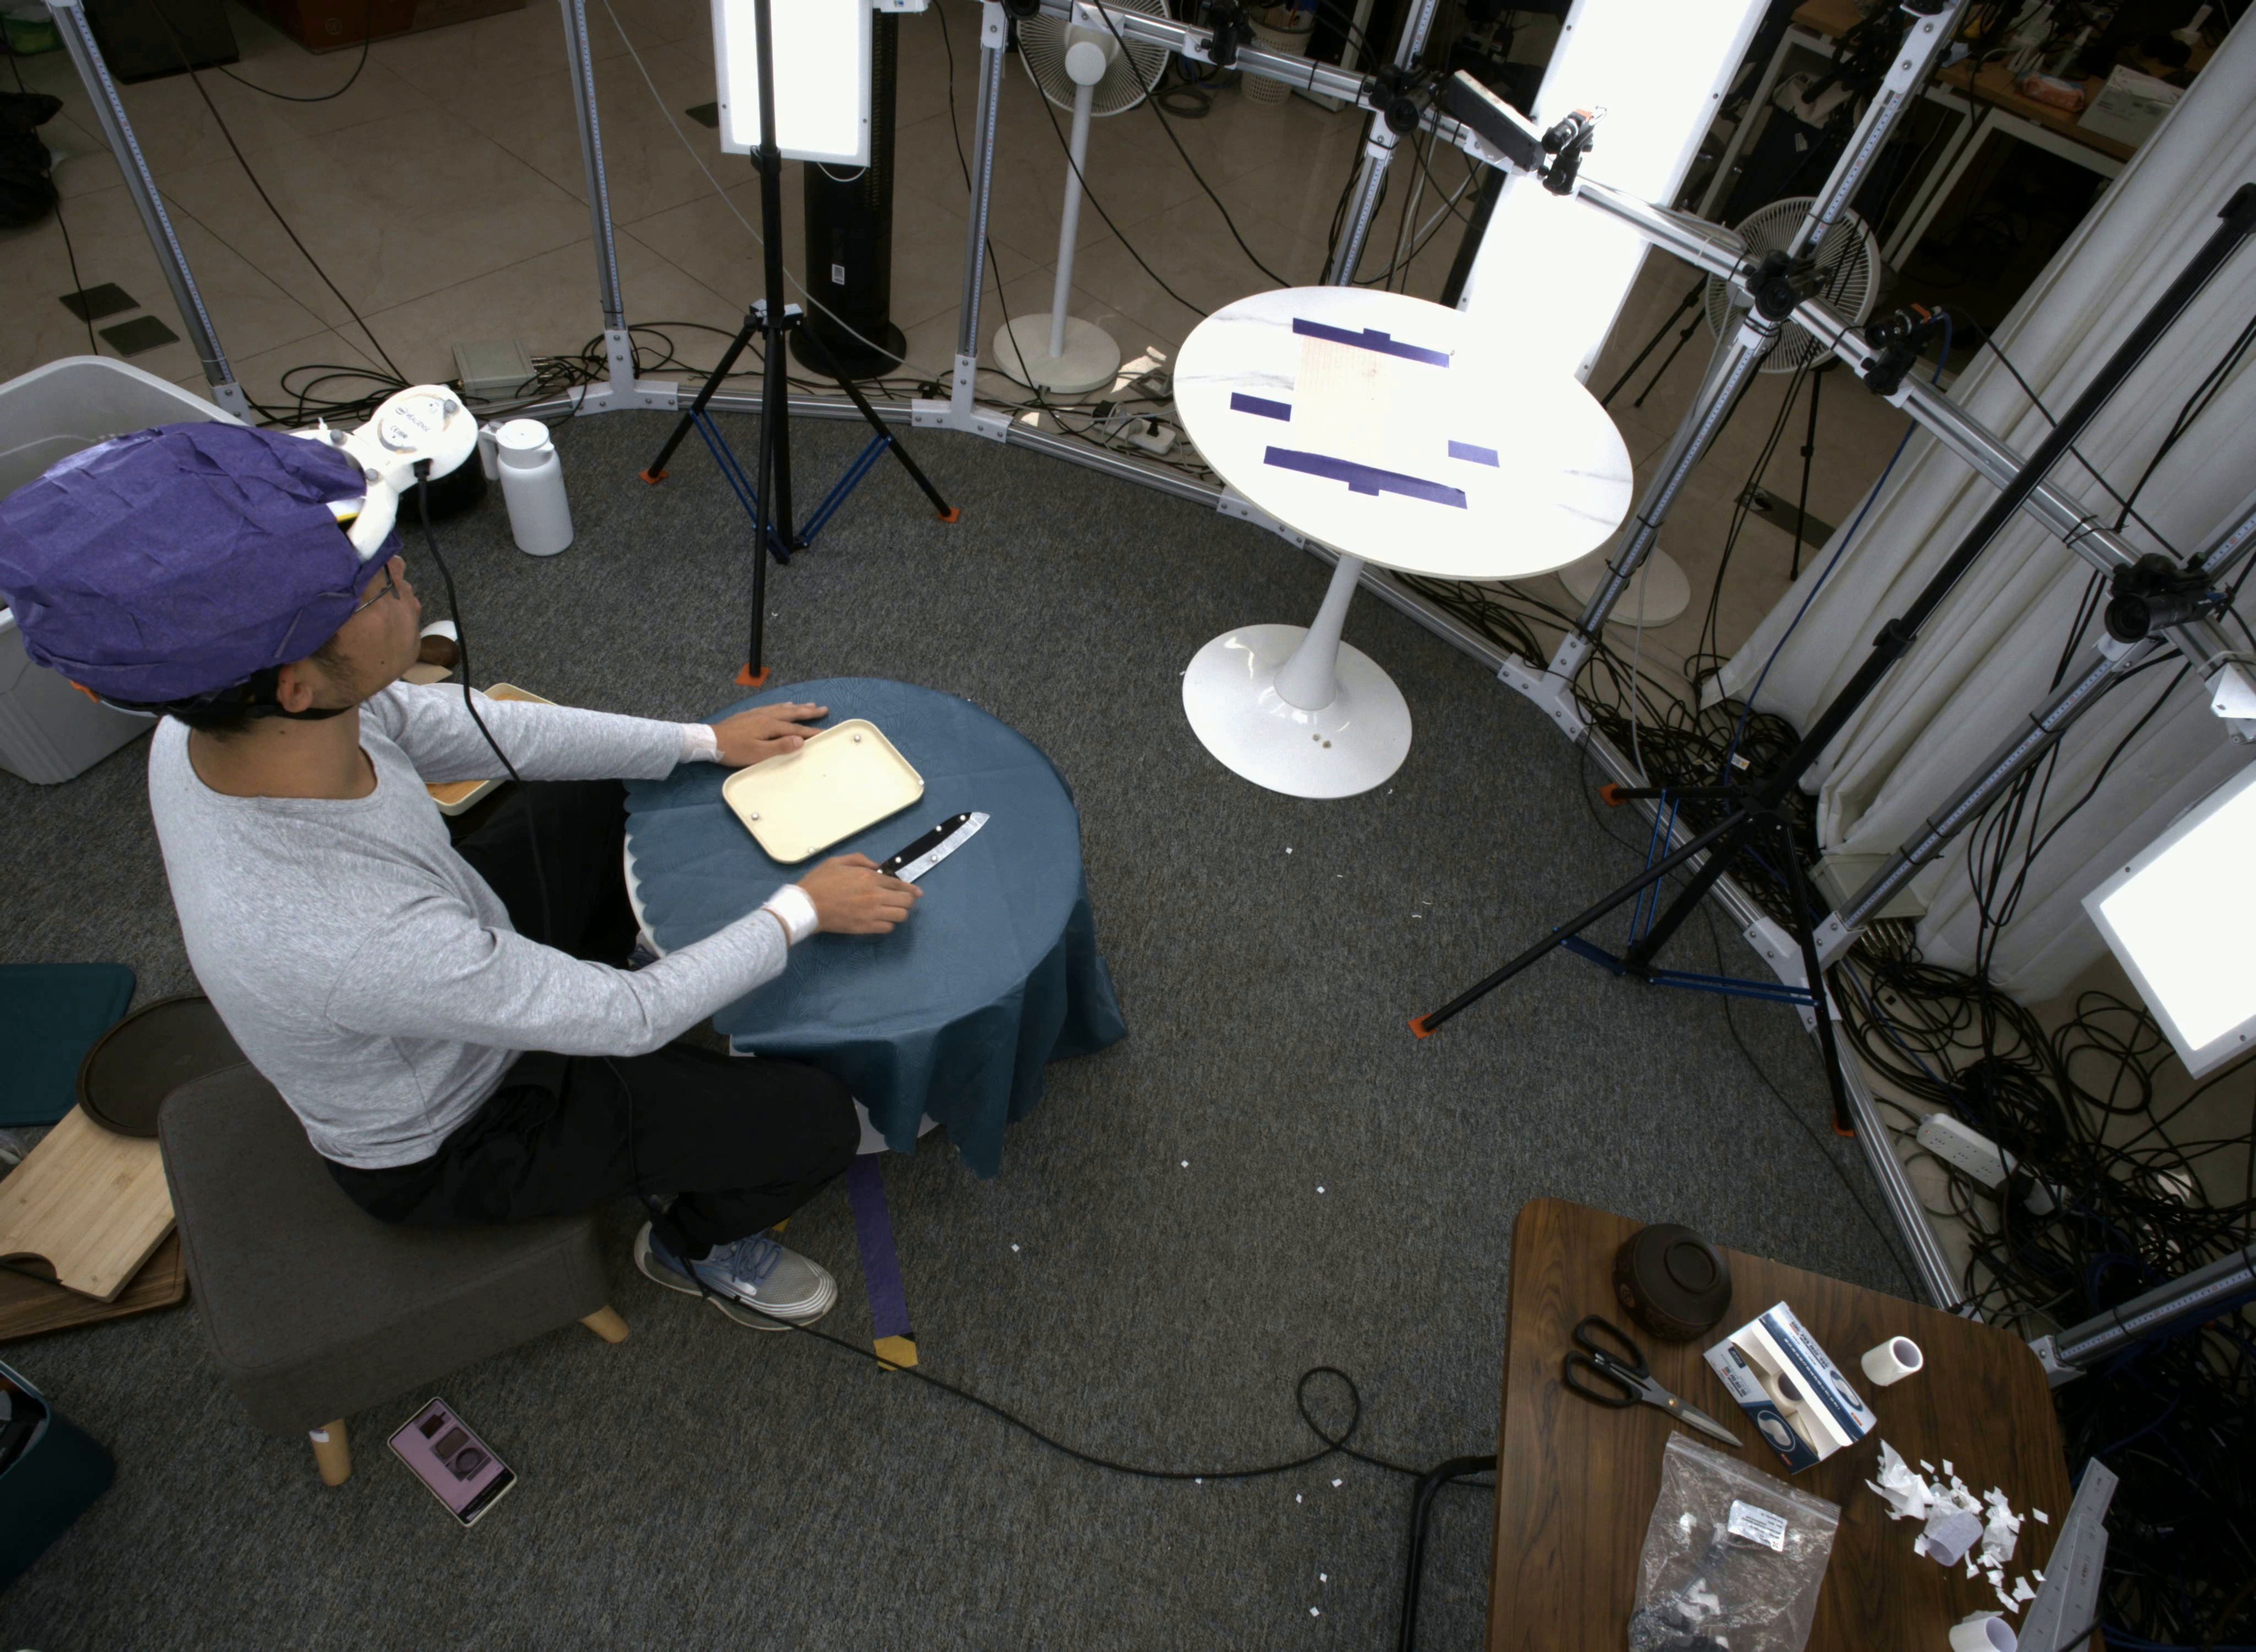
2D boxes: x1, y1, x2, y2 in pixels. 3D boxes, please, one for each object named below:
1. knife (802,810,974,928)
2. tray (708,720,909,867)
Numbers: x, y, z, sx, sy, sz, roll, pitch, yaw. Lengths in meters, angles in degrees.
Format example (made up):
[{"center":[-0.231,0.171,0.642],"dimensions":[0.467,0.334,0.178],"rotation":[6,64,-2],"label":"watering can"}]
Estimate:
[{"center":[-0.311,0.050,1.718],"dimensions":[0.049,0.020,0.290],"rotation":[45,54,12],"label":"knife"},{"center":[-0.431,-0.046,1.757],"dimensions":[0.240,0.018,0.167],"rotation":[-32,67,-31],"label":"tray"}]
